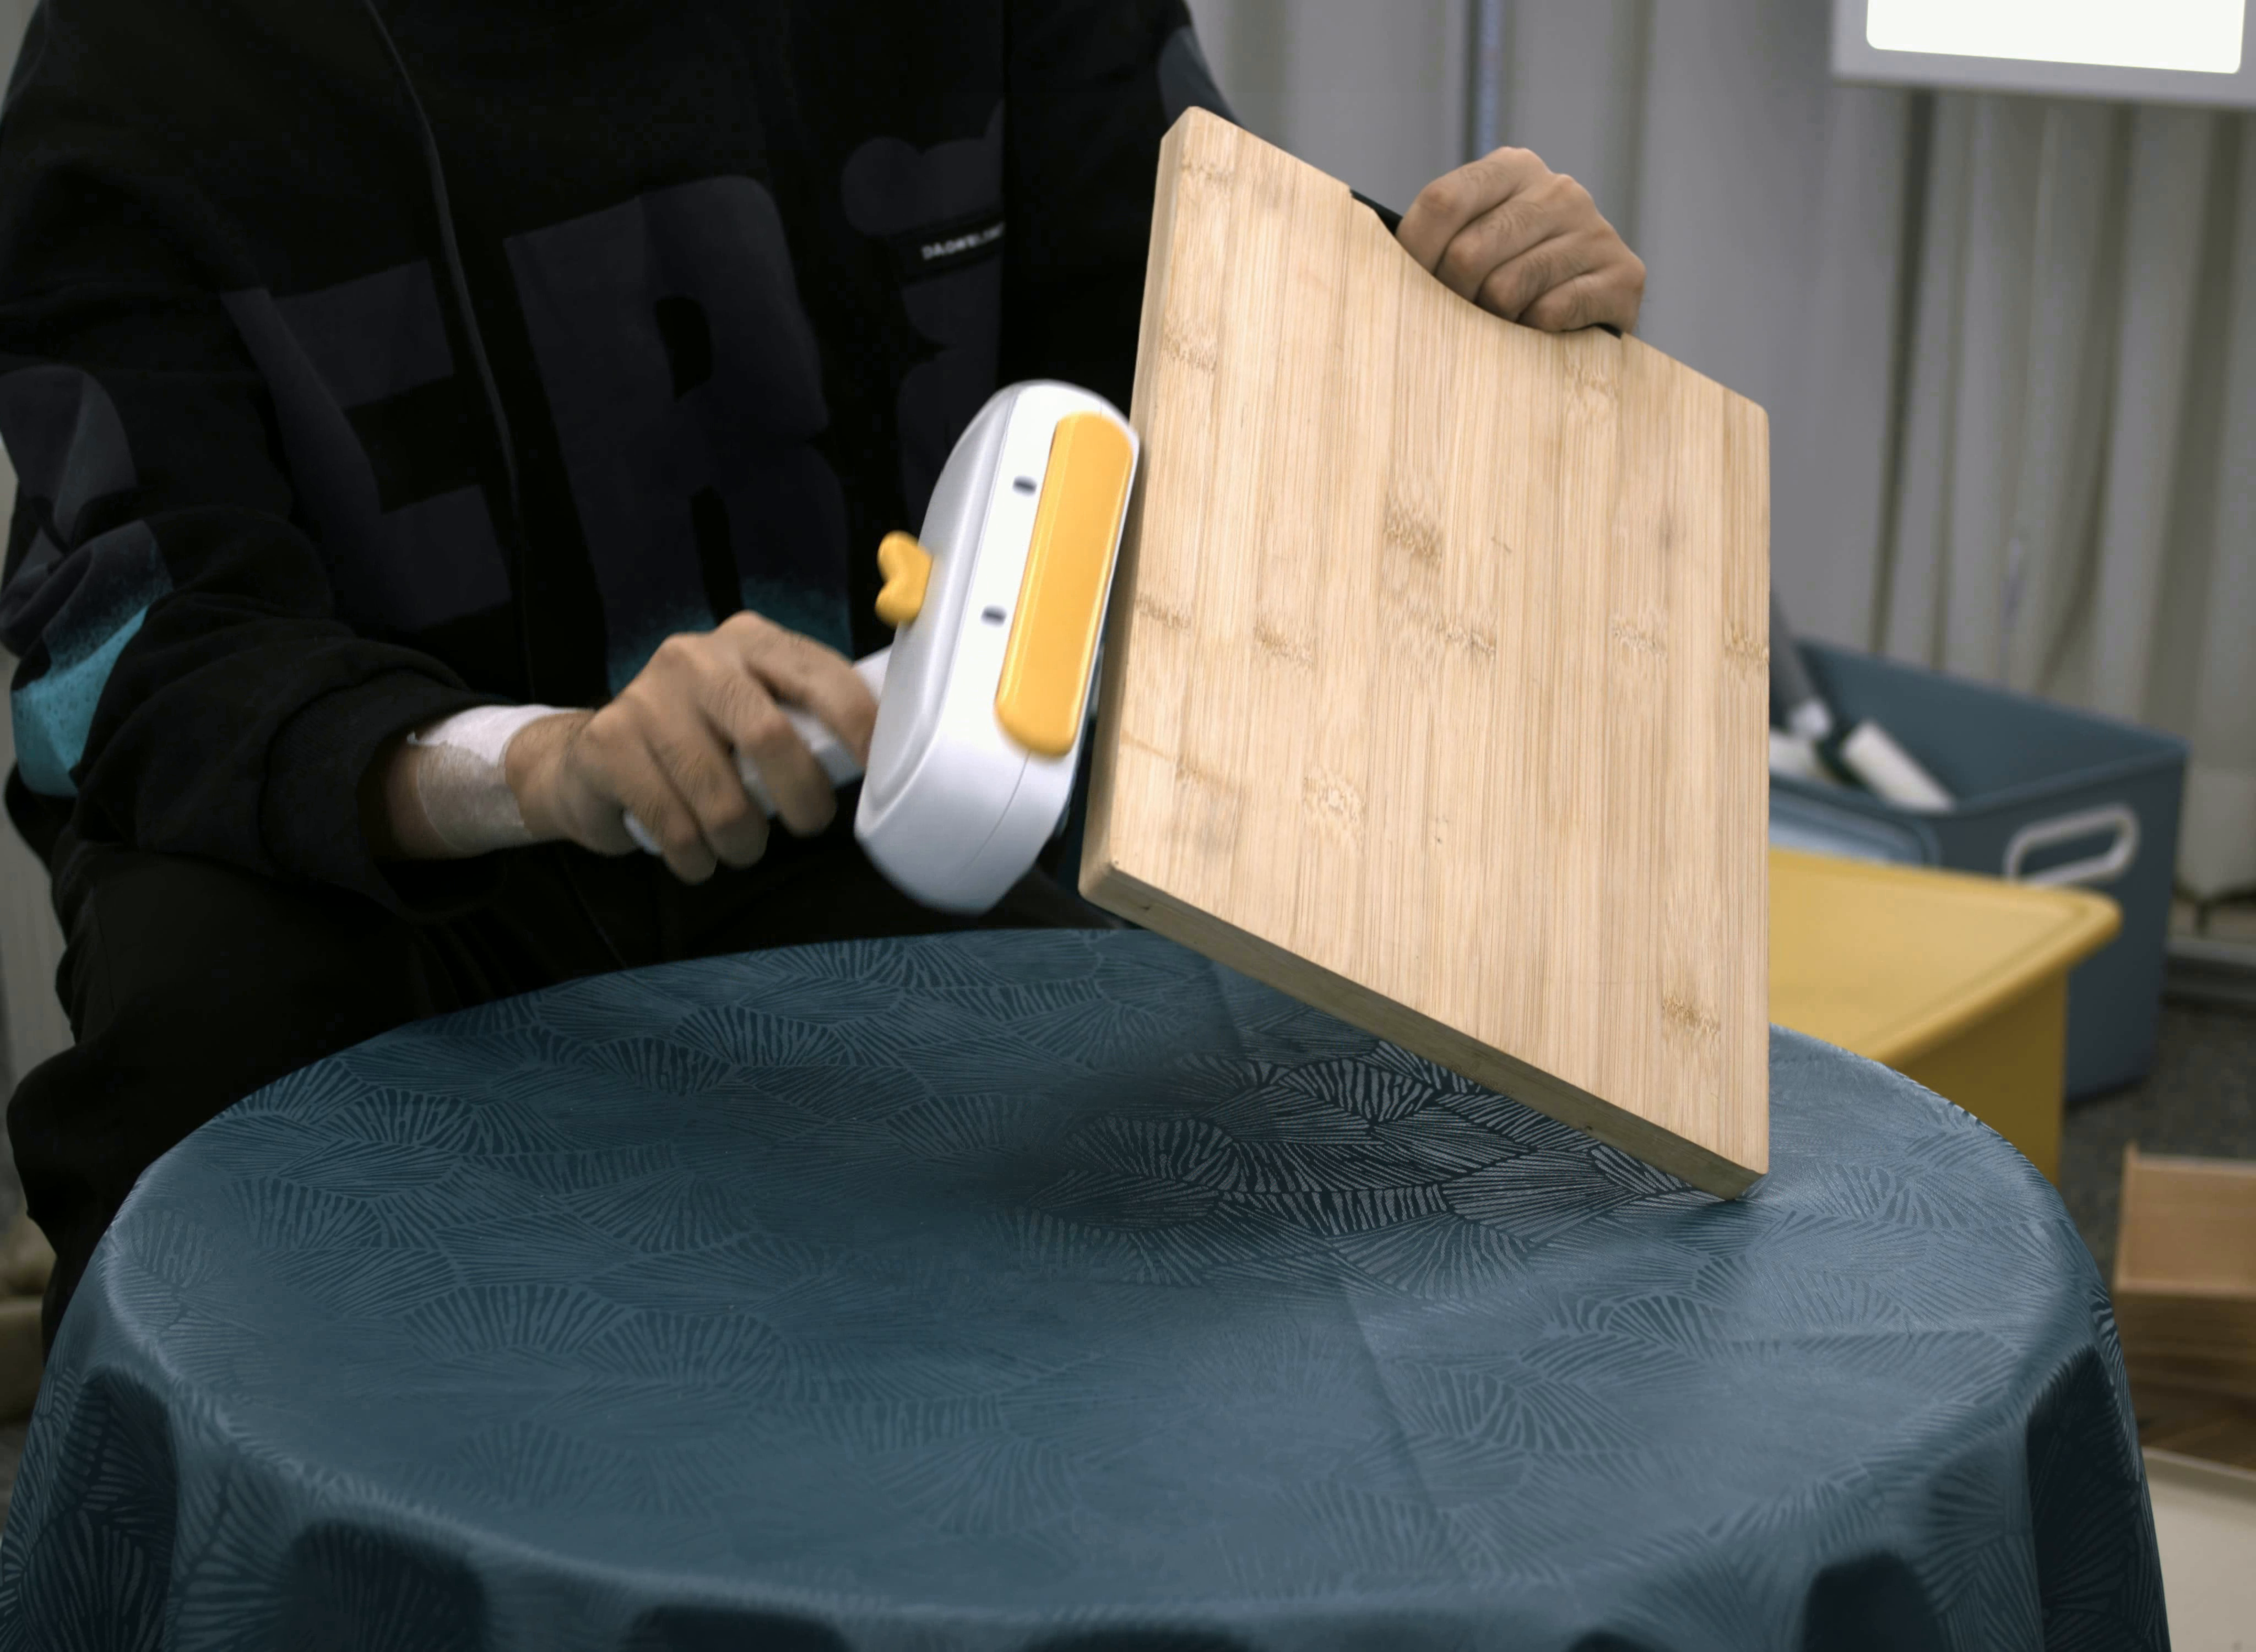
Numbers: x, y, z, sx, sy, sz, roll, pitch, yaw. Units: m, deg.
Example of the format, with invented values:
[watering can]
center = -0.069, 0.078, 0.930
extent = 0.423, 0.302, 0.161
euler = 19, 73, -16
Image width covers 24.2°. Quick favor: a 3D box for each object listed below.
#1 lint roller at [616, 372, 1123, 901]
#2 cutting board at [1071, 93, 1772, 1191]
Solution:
[lint roller]
center = -0.081, -0.033, 1.624
extent = 0.075, 0.192, 0.191
euler = 30, 41, -26
[cutting board]
center = 0.103, -0.065, 1.683
extent = 0.252, 0.023, 0.346
euler = 26, 45, -22
